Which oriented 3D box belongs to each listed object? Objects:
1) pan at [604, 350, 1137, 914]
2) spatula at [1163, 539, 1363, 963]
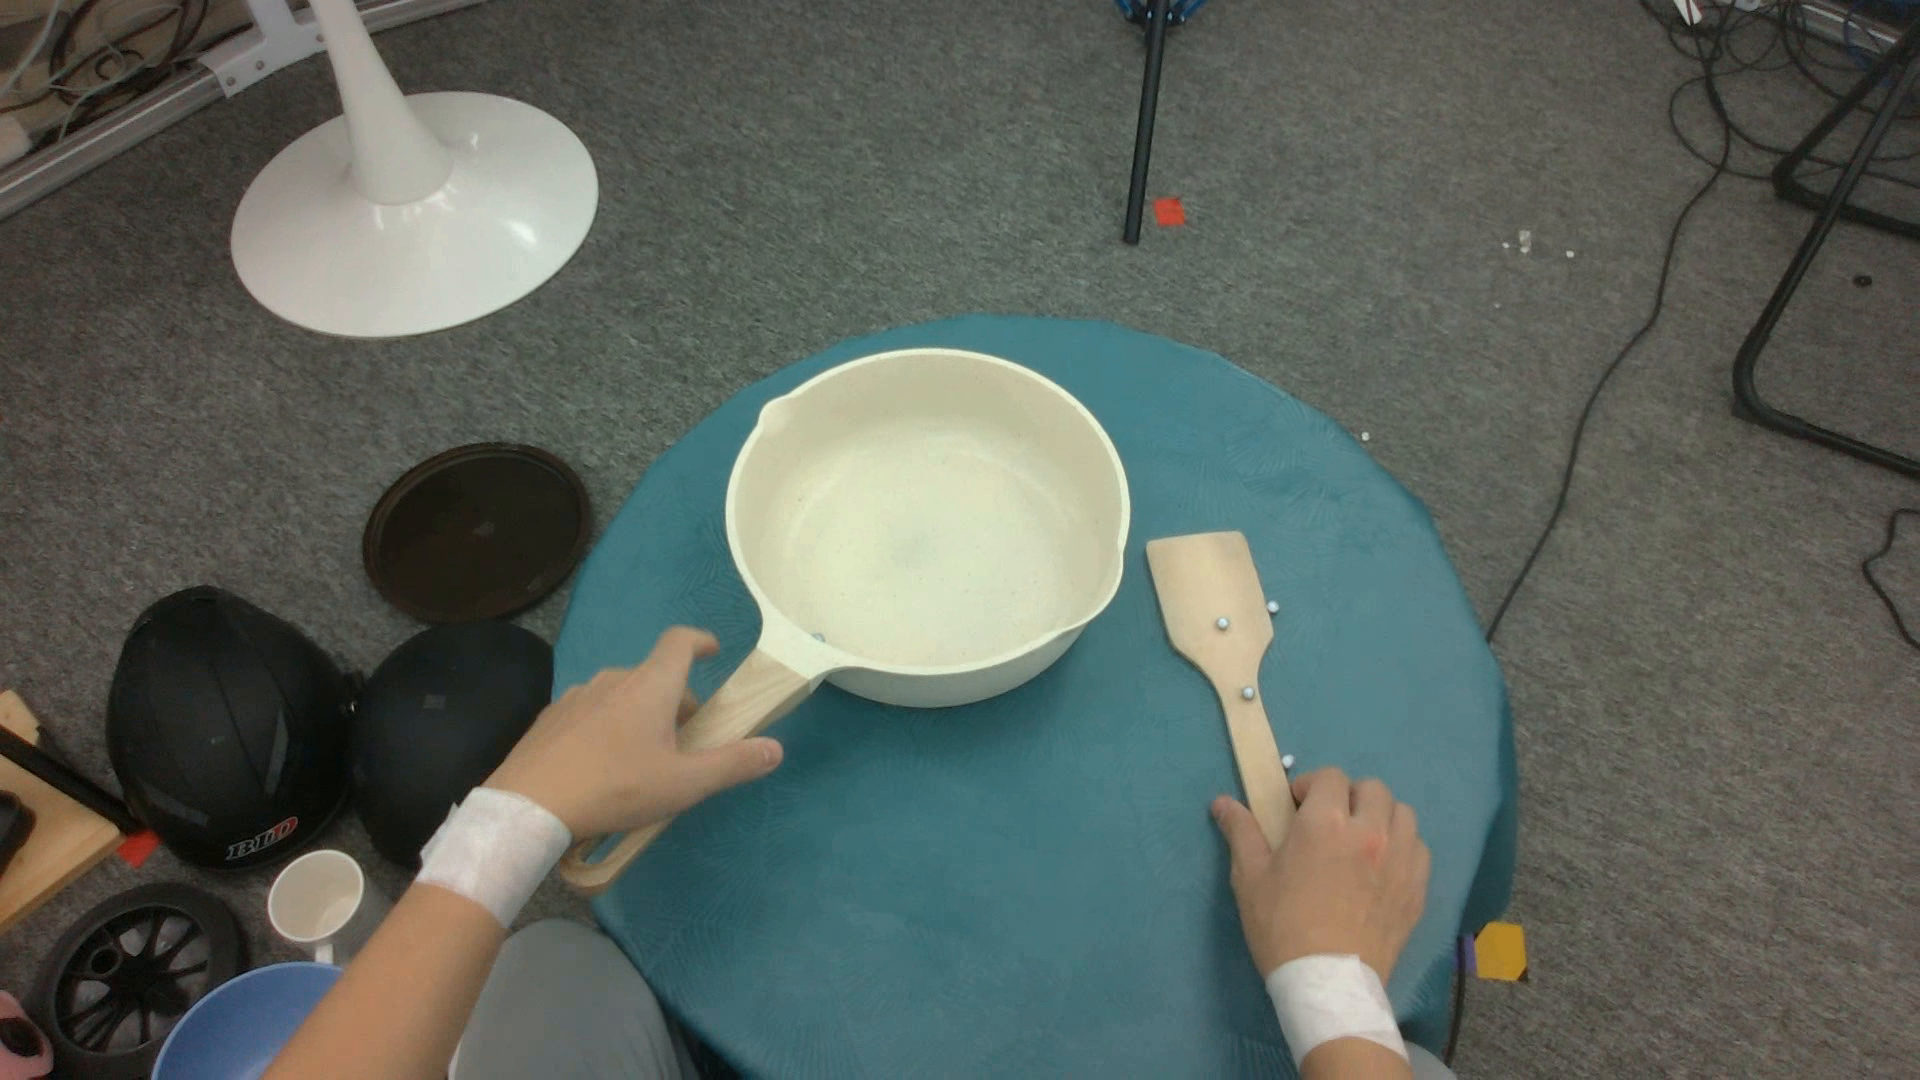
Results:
[{"bbox_3d":[-0.063,0.058,0.851,0.263,0.101,0.437,28,60,17],"label":"pan"},{"bbox_3d":[0.194,0.119,0.855,0.072,0.010,0.294,-7,53,-5],"label":"spatula"}]
